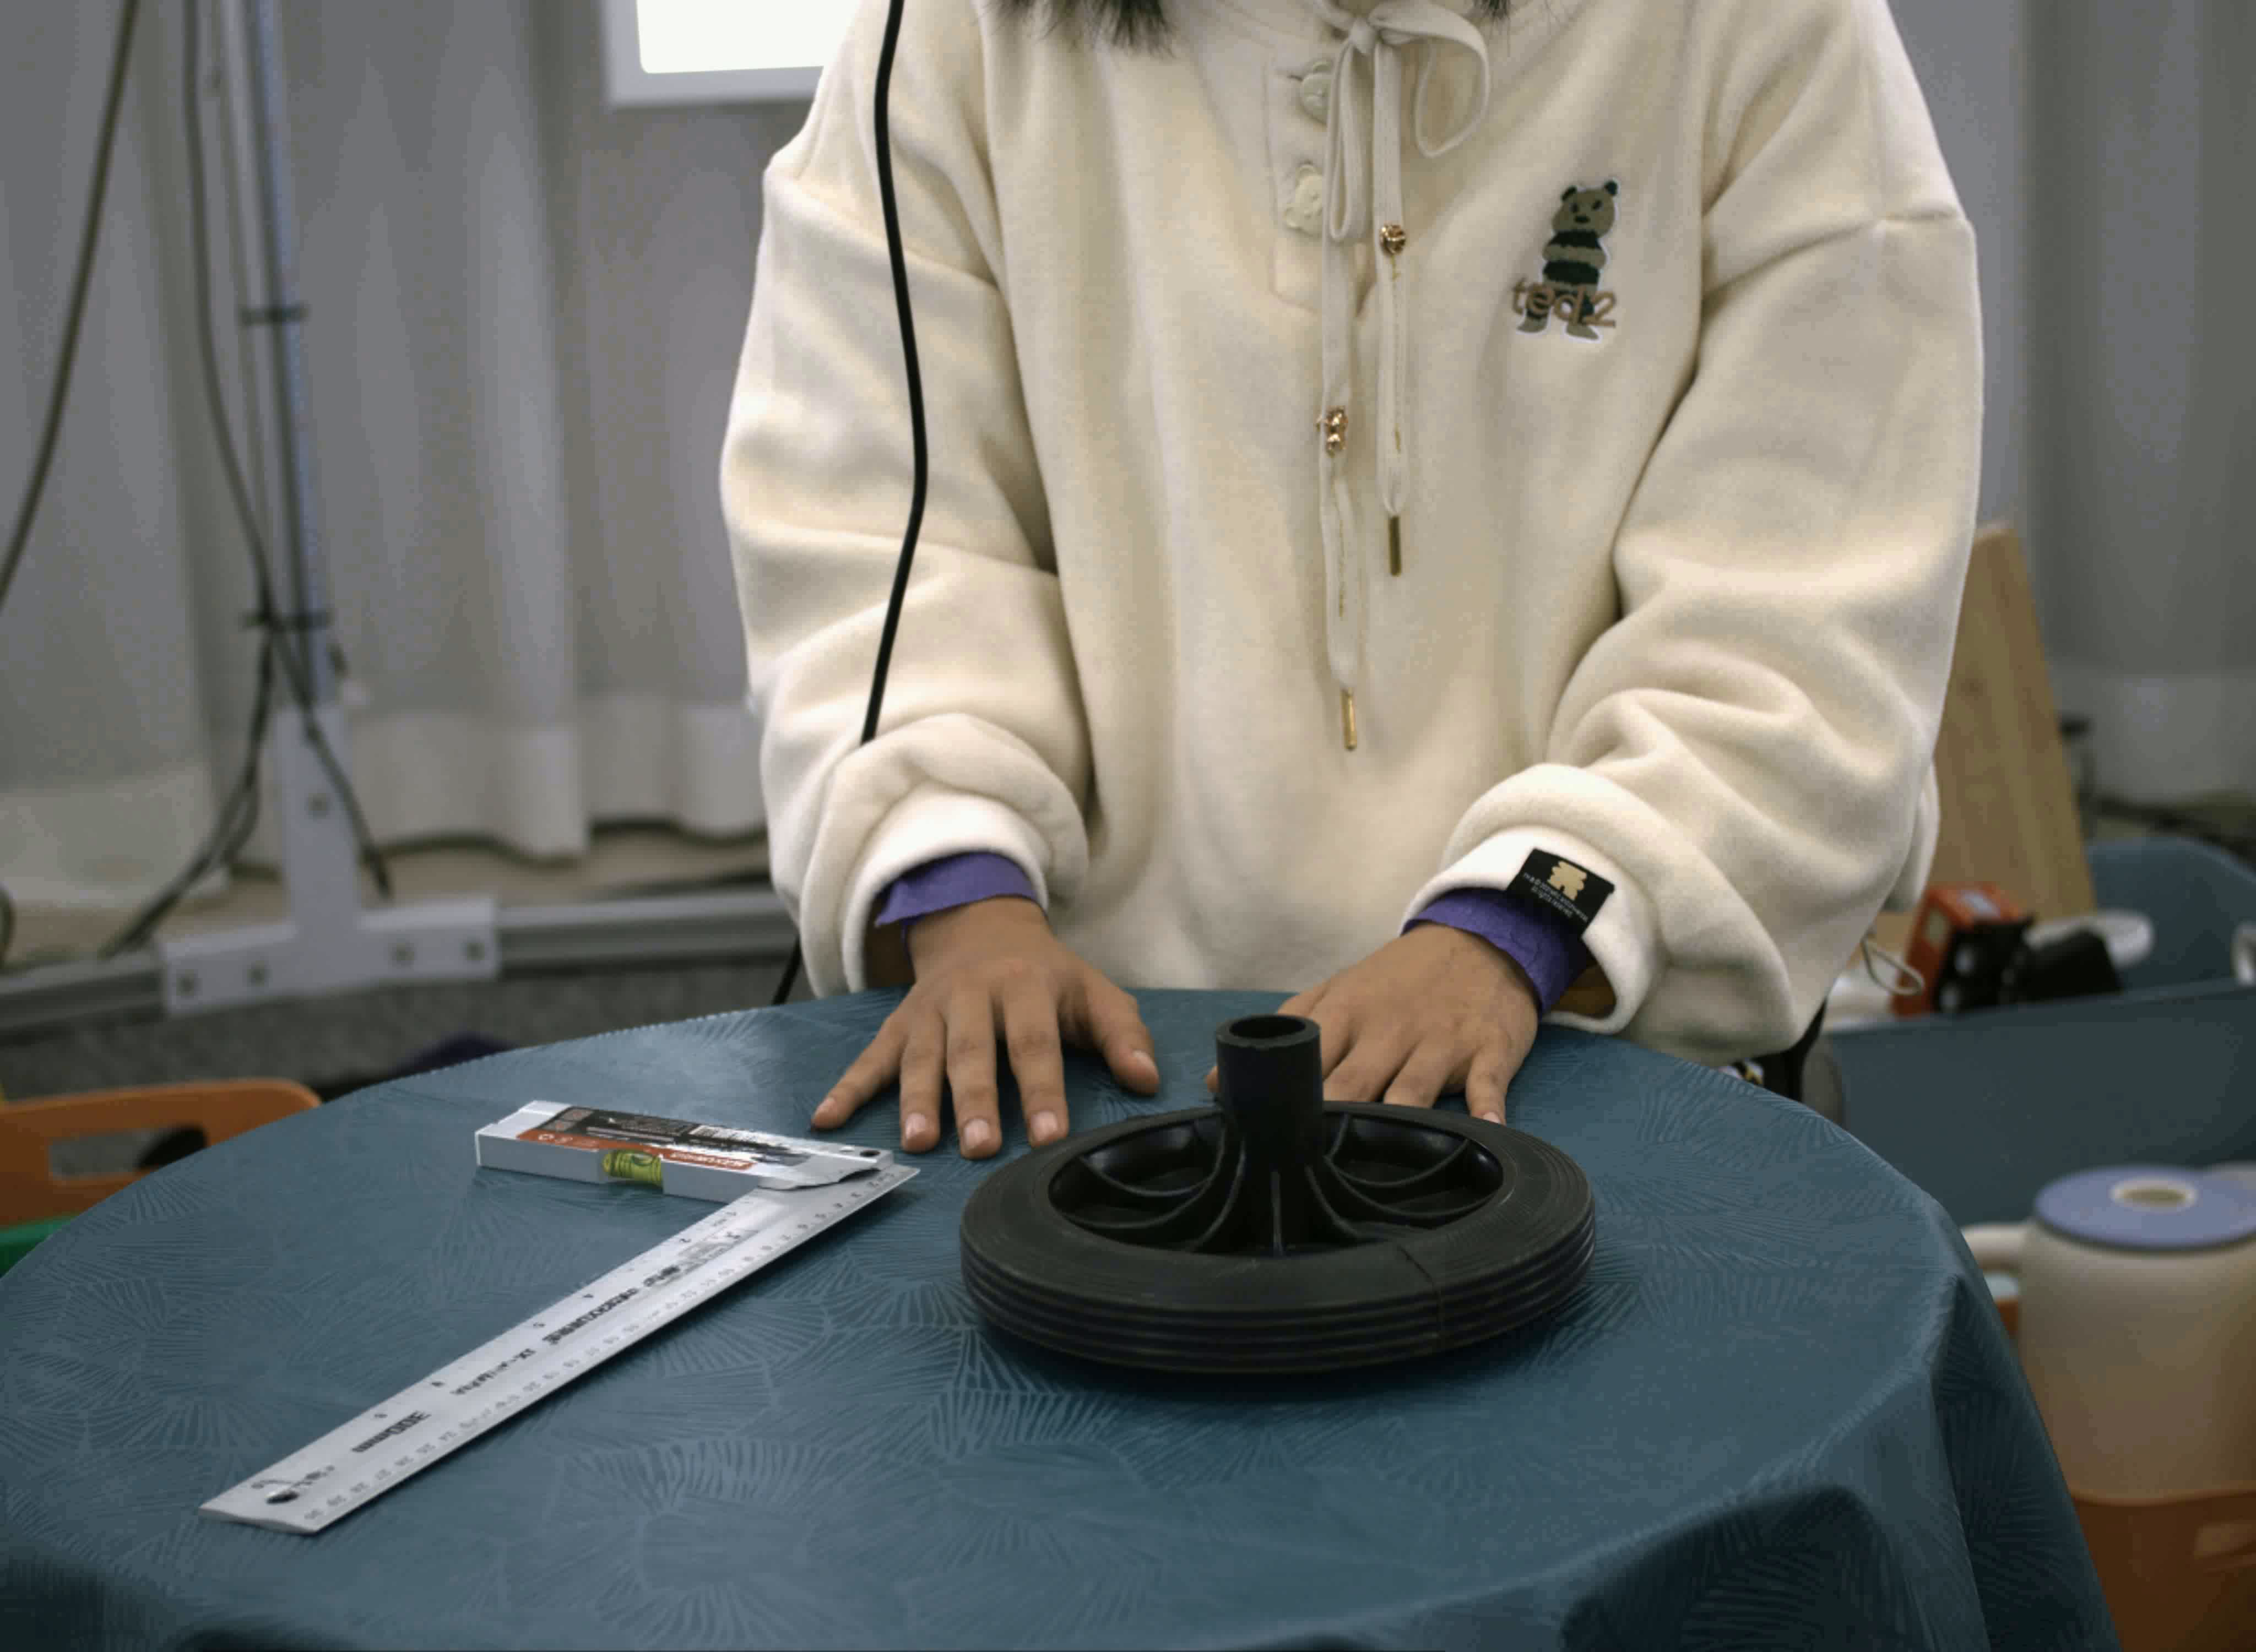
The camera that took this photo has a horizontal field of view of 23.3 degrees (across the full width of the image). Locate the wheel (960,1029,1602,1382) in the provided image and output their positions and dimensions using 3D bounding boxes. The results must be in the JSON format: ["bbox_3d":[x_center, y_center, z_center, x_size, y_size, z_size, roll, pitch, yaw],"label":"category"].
[{"bbox_3d":[0.044,0.102,1.607,0.189,0.079,0.188,0,15,9],"label":"wheel"}]

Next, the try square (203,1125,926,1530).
[{"bbox_3d":[-0.203,0.146,1.634,0.152,0.016,0.313,2,16,31],"label":"try square"}]
